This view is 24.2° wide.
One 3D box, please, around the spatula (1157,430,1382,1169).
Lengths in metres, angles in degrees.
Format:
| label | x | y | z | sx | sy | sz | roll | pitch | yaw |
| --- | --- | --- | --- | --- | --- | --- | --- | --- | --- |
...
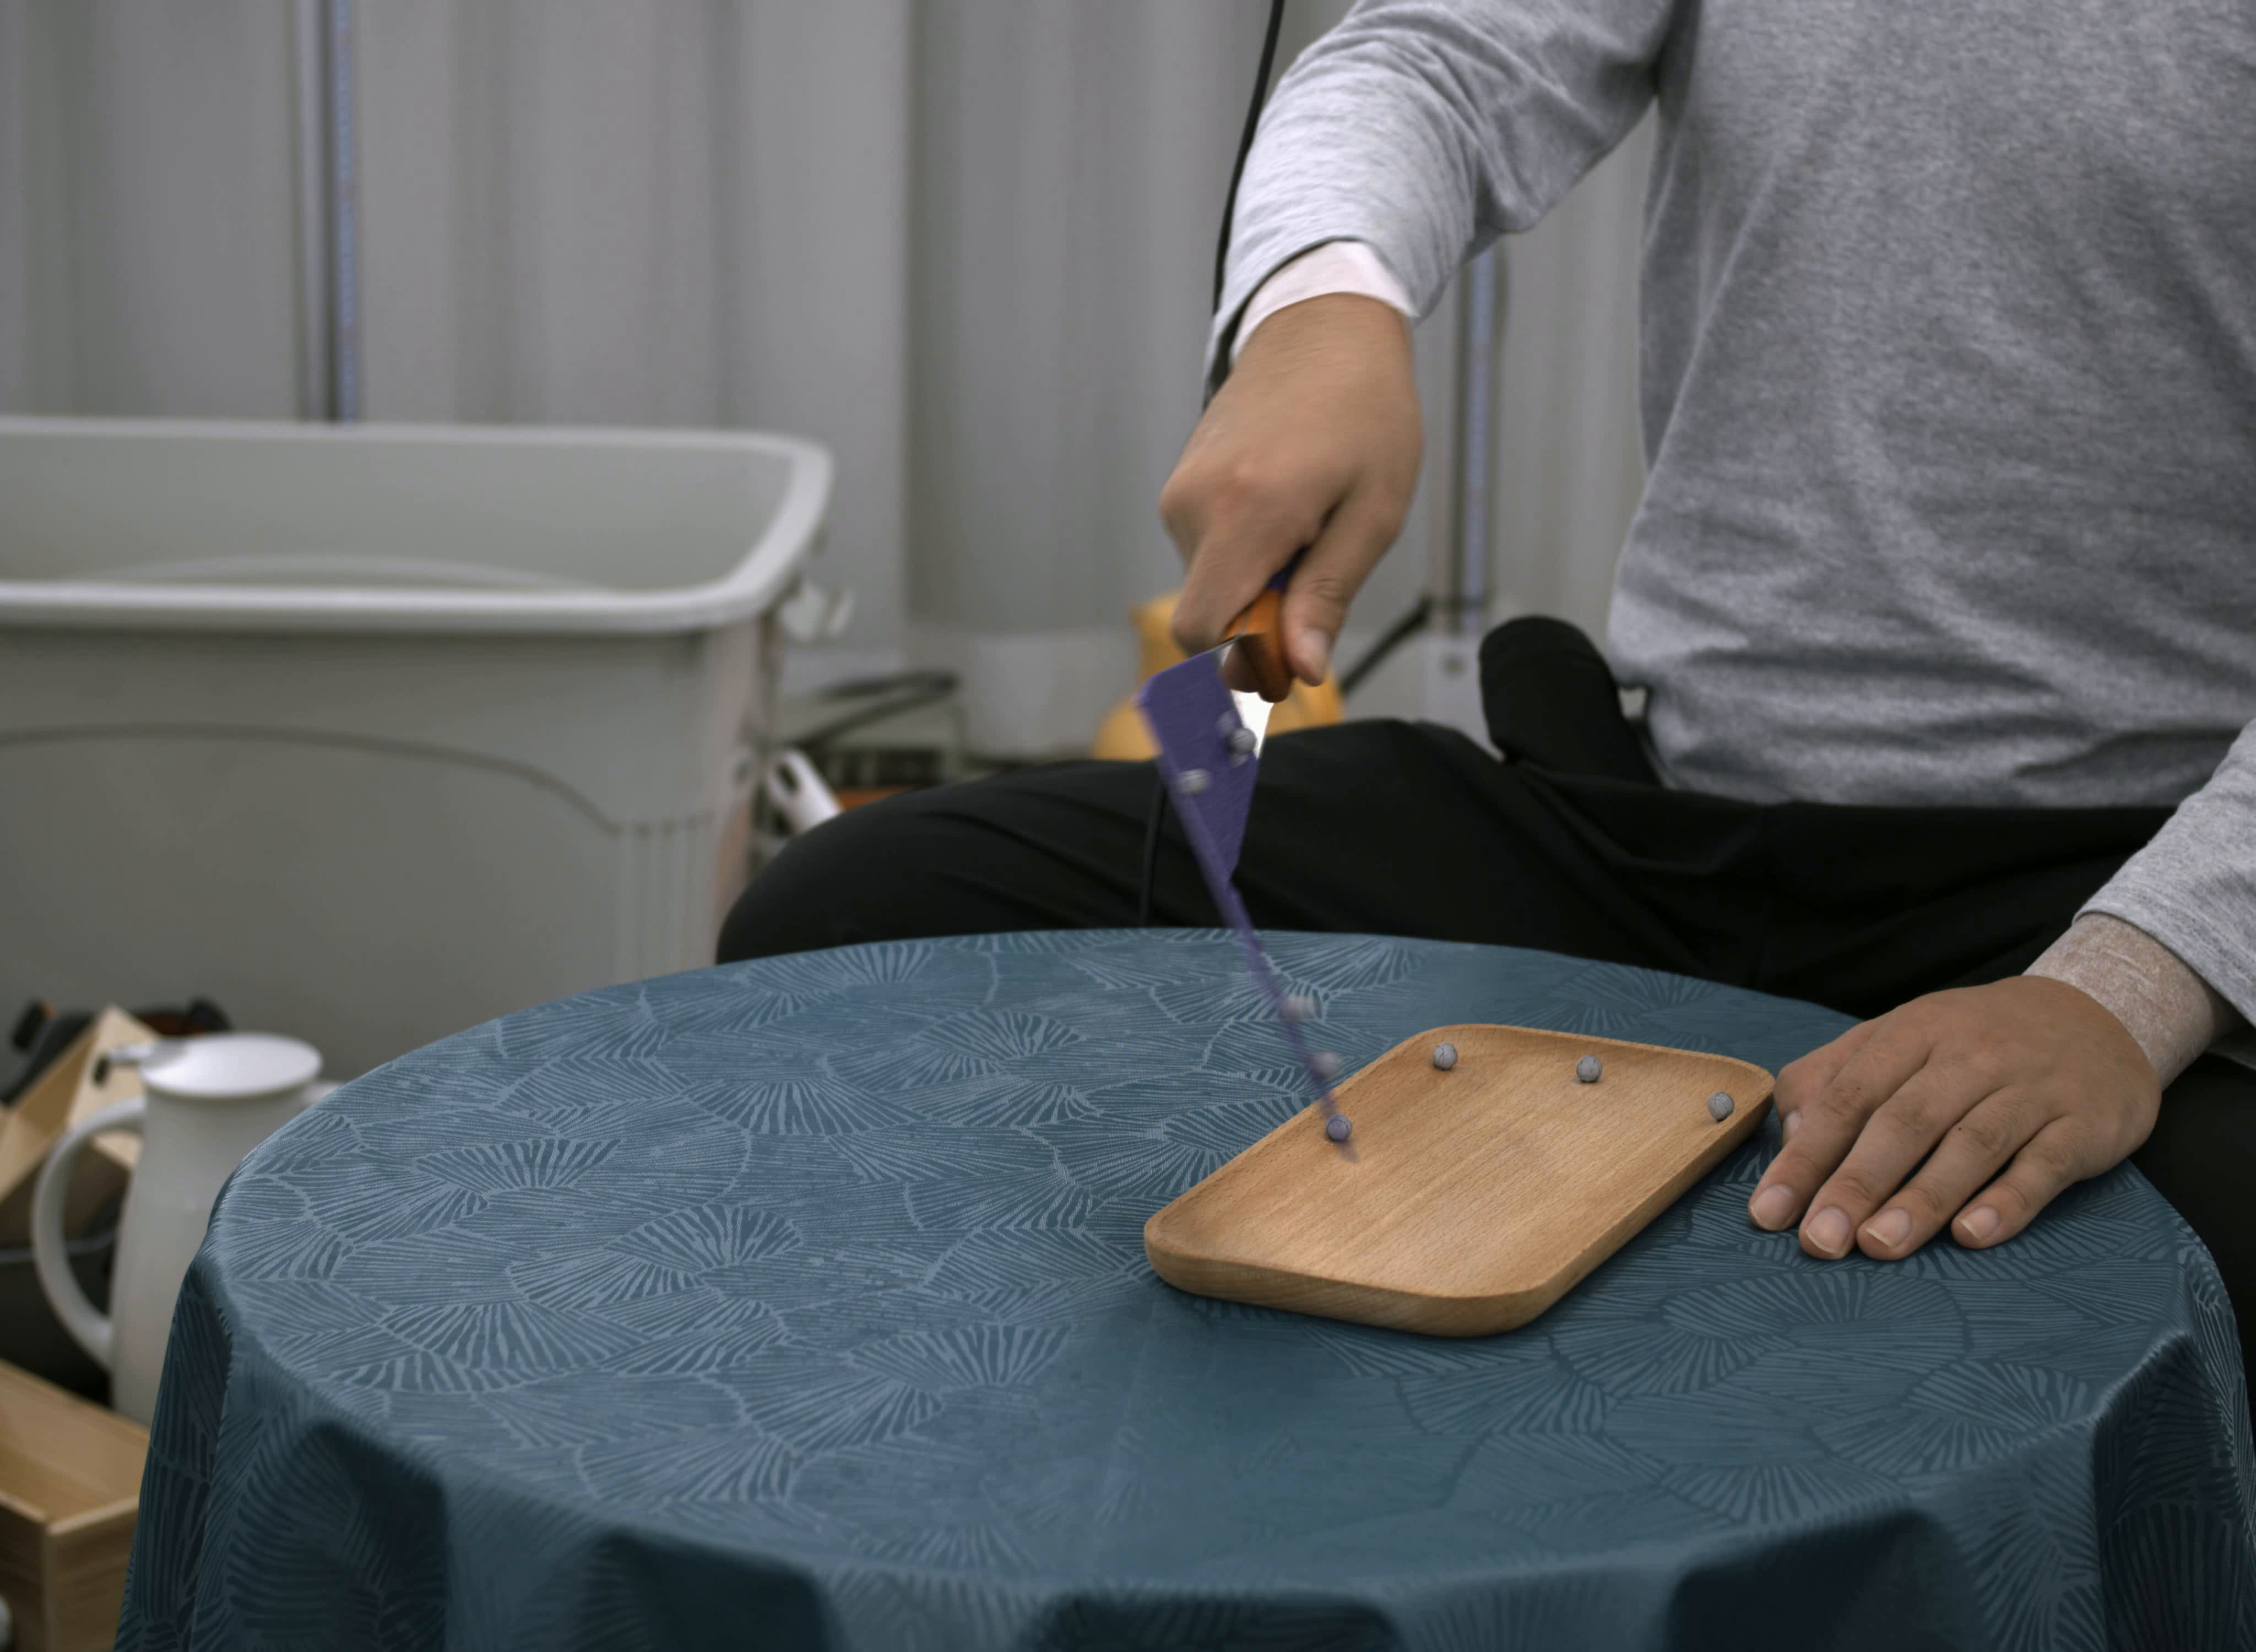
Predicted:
| label | x | y | z | sx | sy | sz | roll | pitch | yaw |
| --- | --- | --- | --- | --- | --- | --- | --- | --- | --- |
| spatula | 0.060 | -0.022 | 1.622 | 0.086 | 0.076 | 0.357 | -8 | 34 | 20 |

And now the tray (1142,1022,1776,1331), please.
| label | x | y | z | sx | sy | sz | roll | pitch | yaw |
| --- | --- | --- | --- | --- | --- | --- | --- | --- | --- |
| tray | 0.106 | 0.105 | 1.623 | 0.129 | 0.023 | 0.251 | 5 | 16 | 26 |
